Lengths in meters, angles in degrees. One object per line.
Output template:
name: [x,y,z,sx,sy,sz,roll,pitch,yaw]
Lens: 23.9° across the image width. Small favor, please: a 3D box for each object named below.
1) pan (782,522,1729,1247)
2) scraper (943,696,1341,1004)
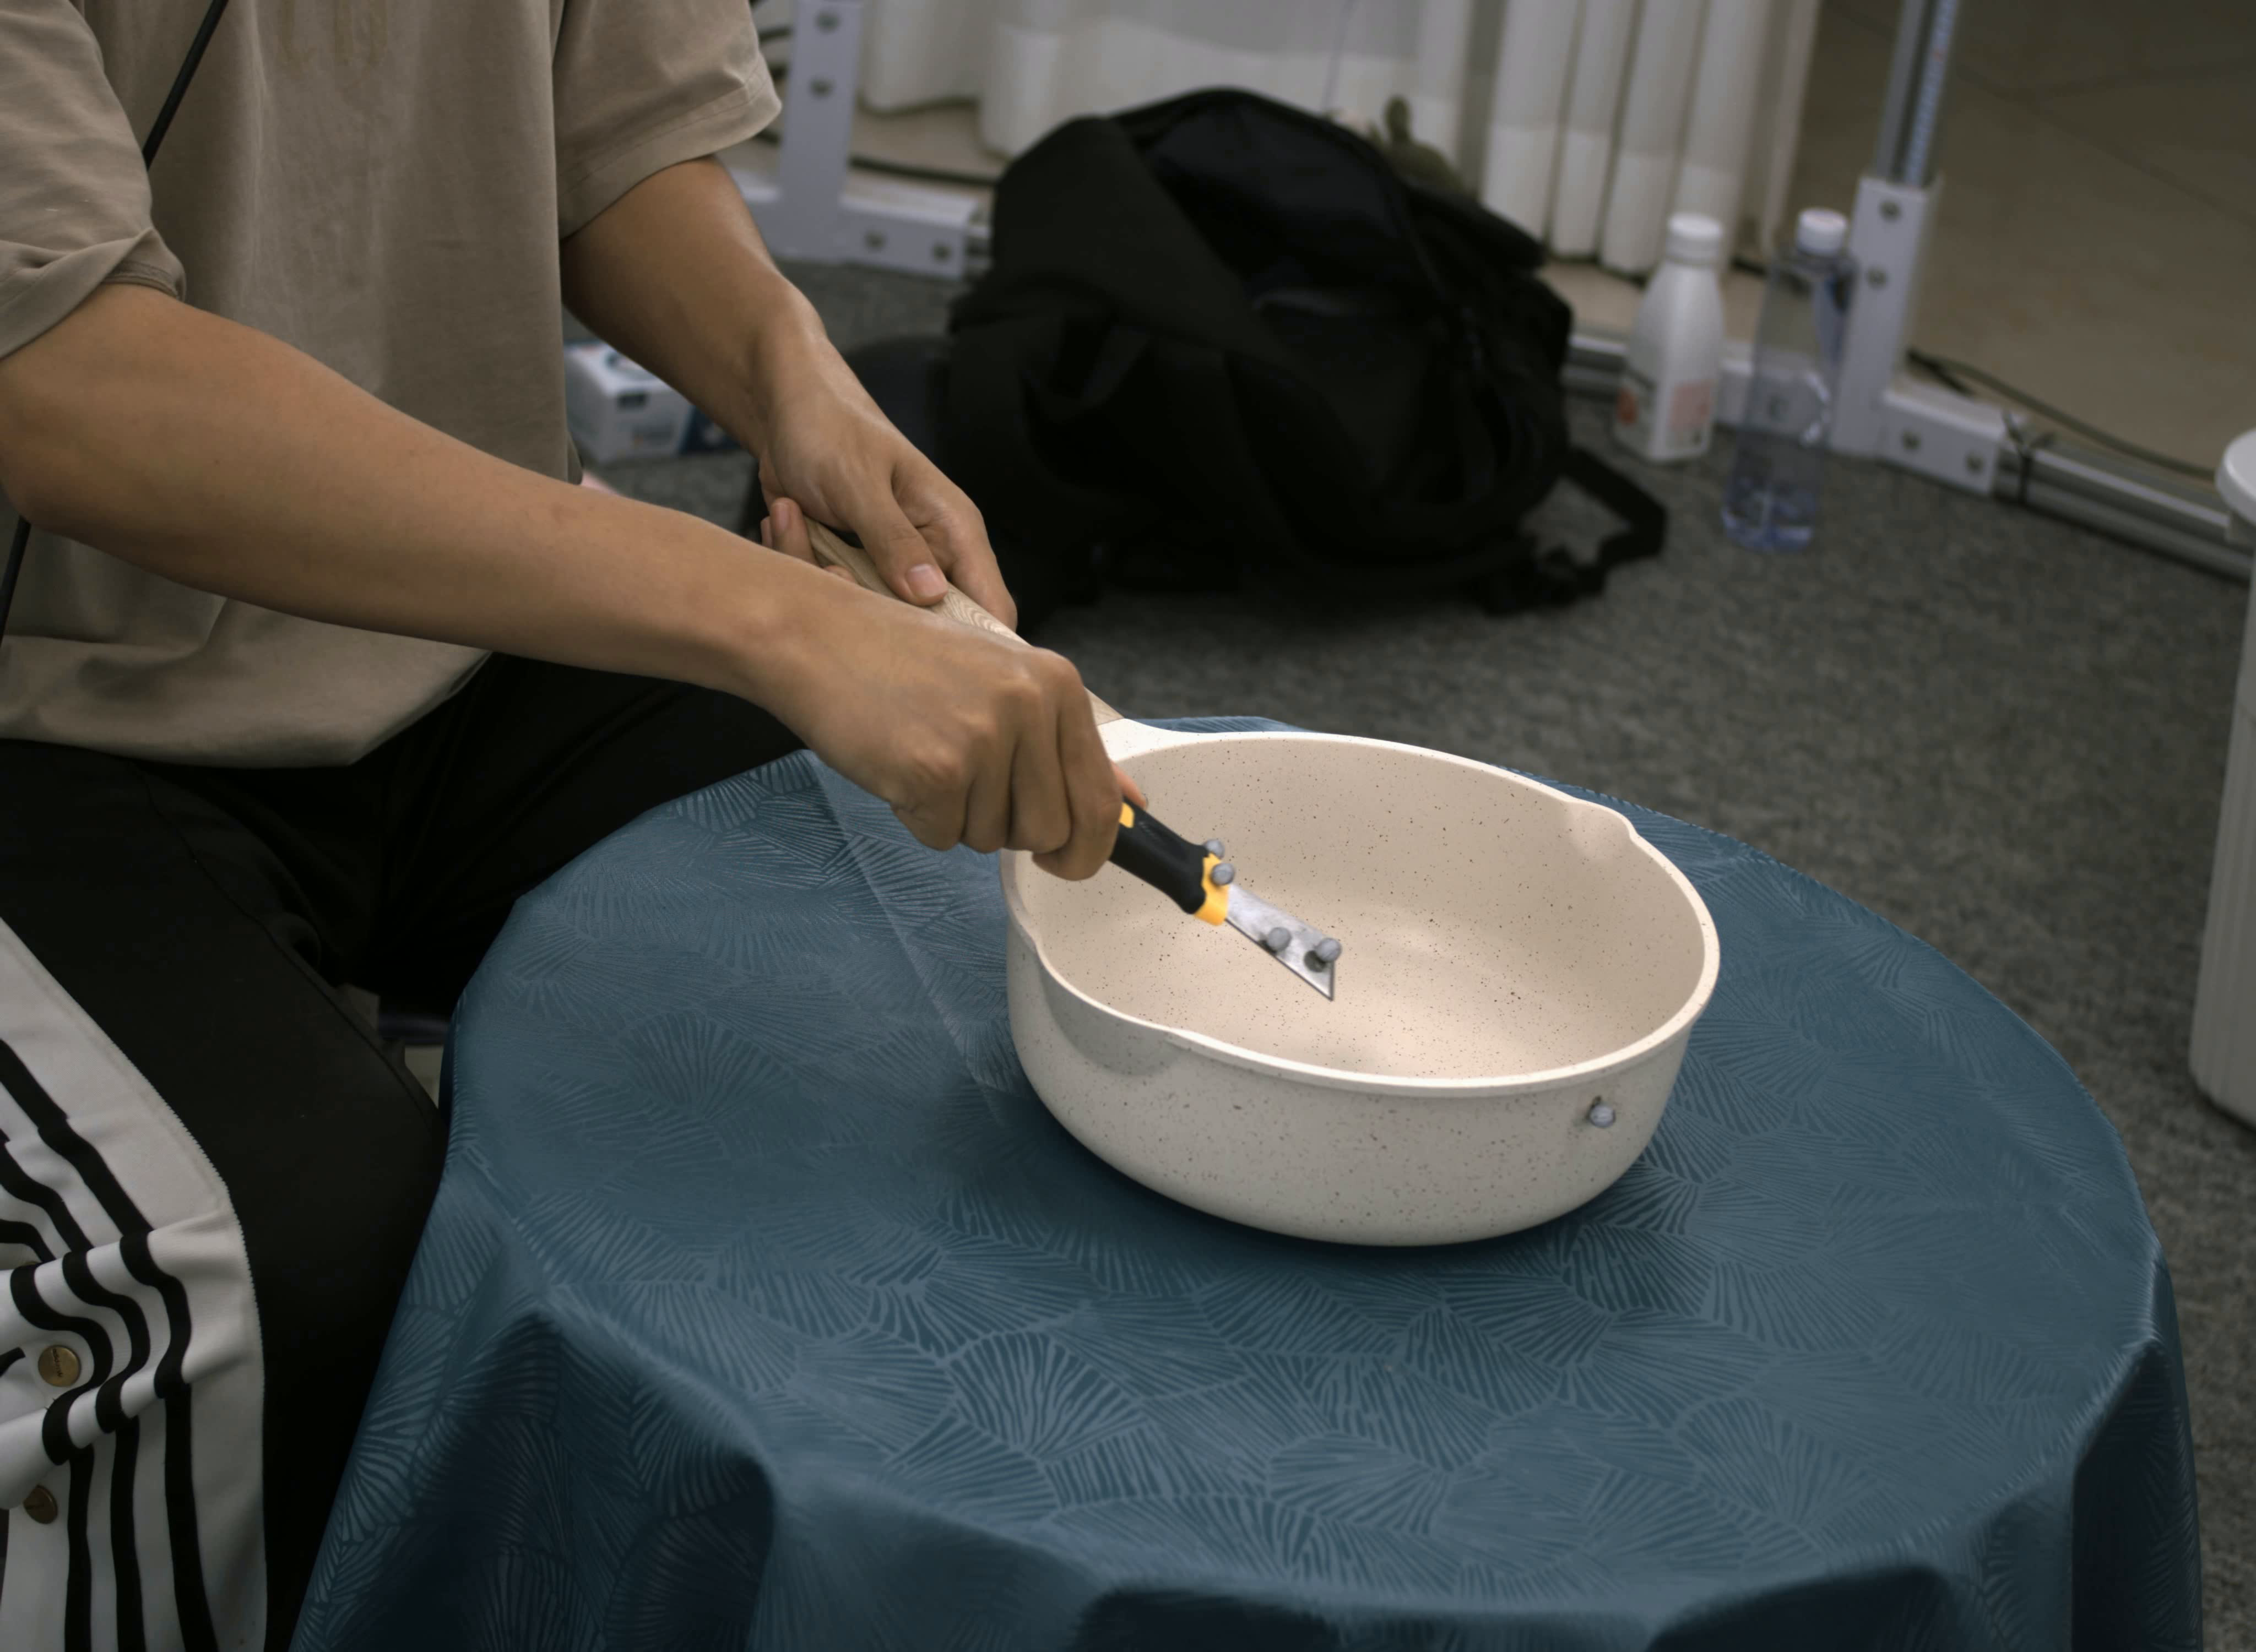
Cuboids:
pan: [0.019,0.016,1.915,0.262,0.101,0.438,-20,37,-38]
scraper: [0.006,0.007,1.820,0.170,0.015,0.039,34,38,-21]
